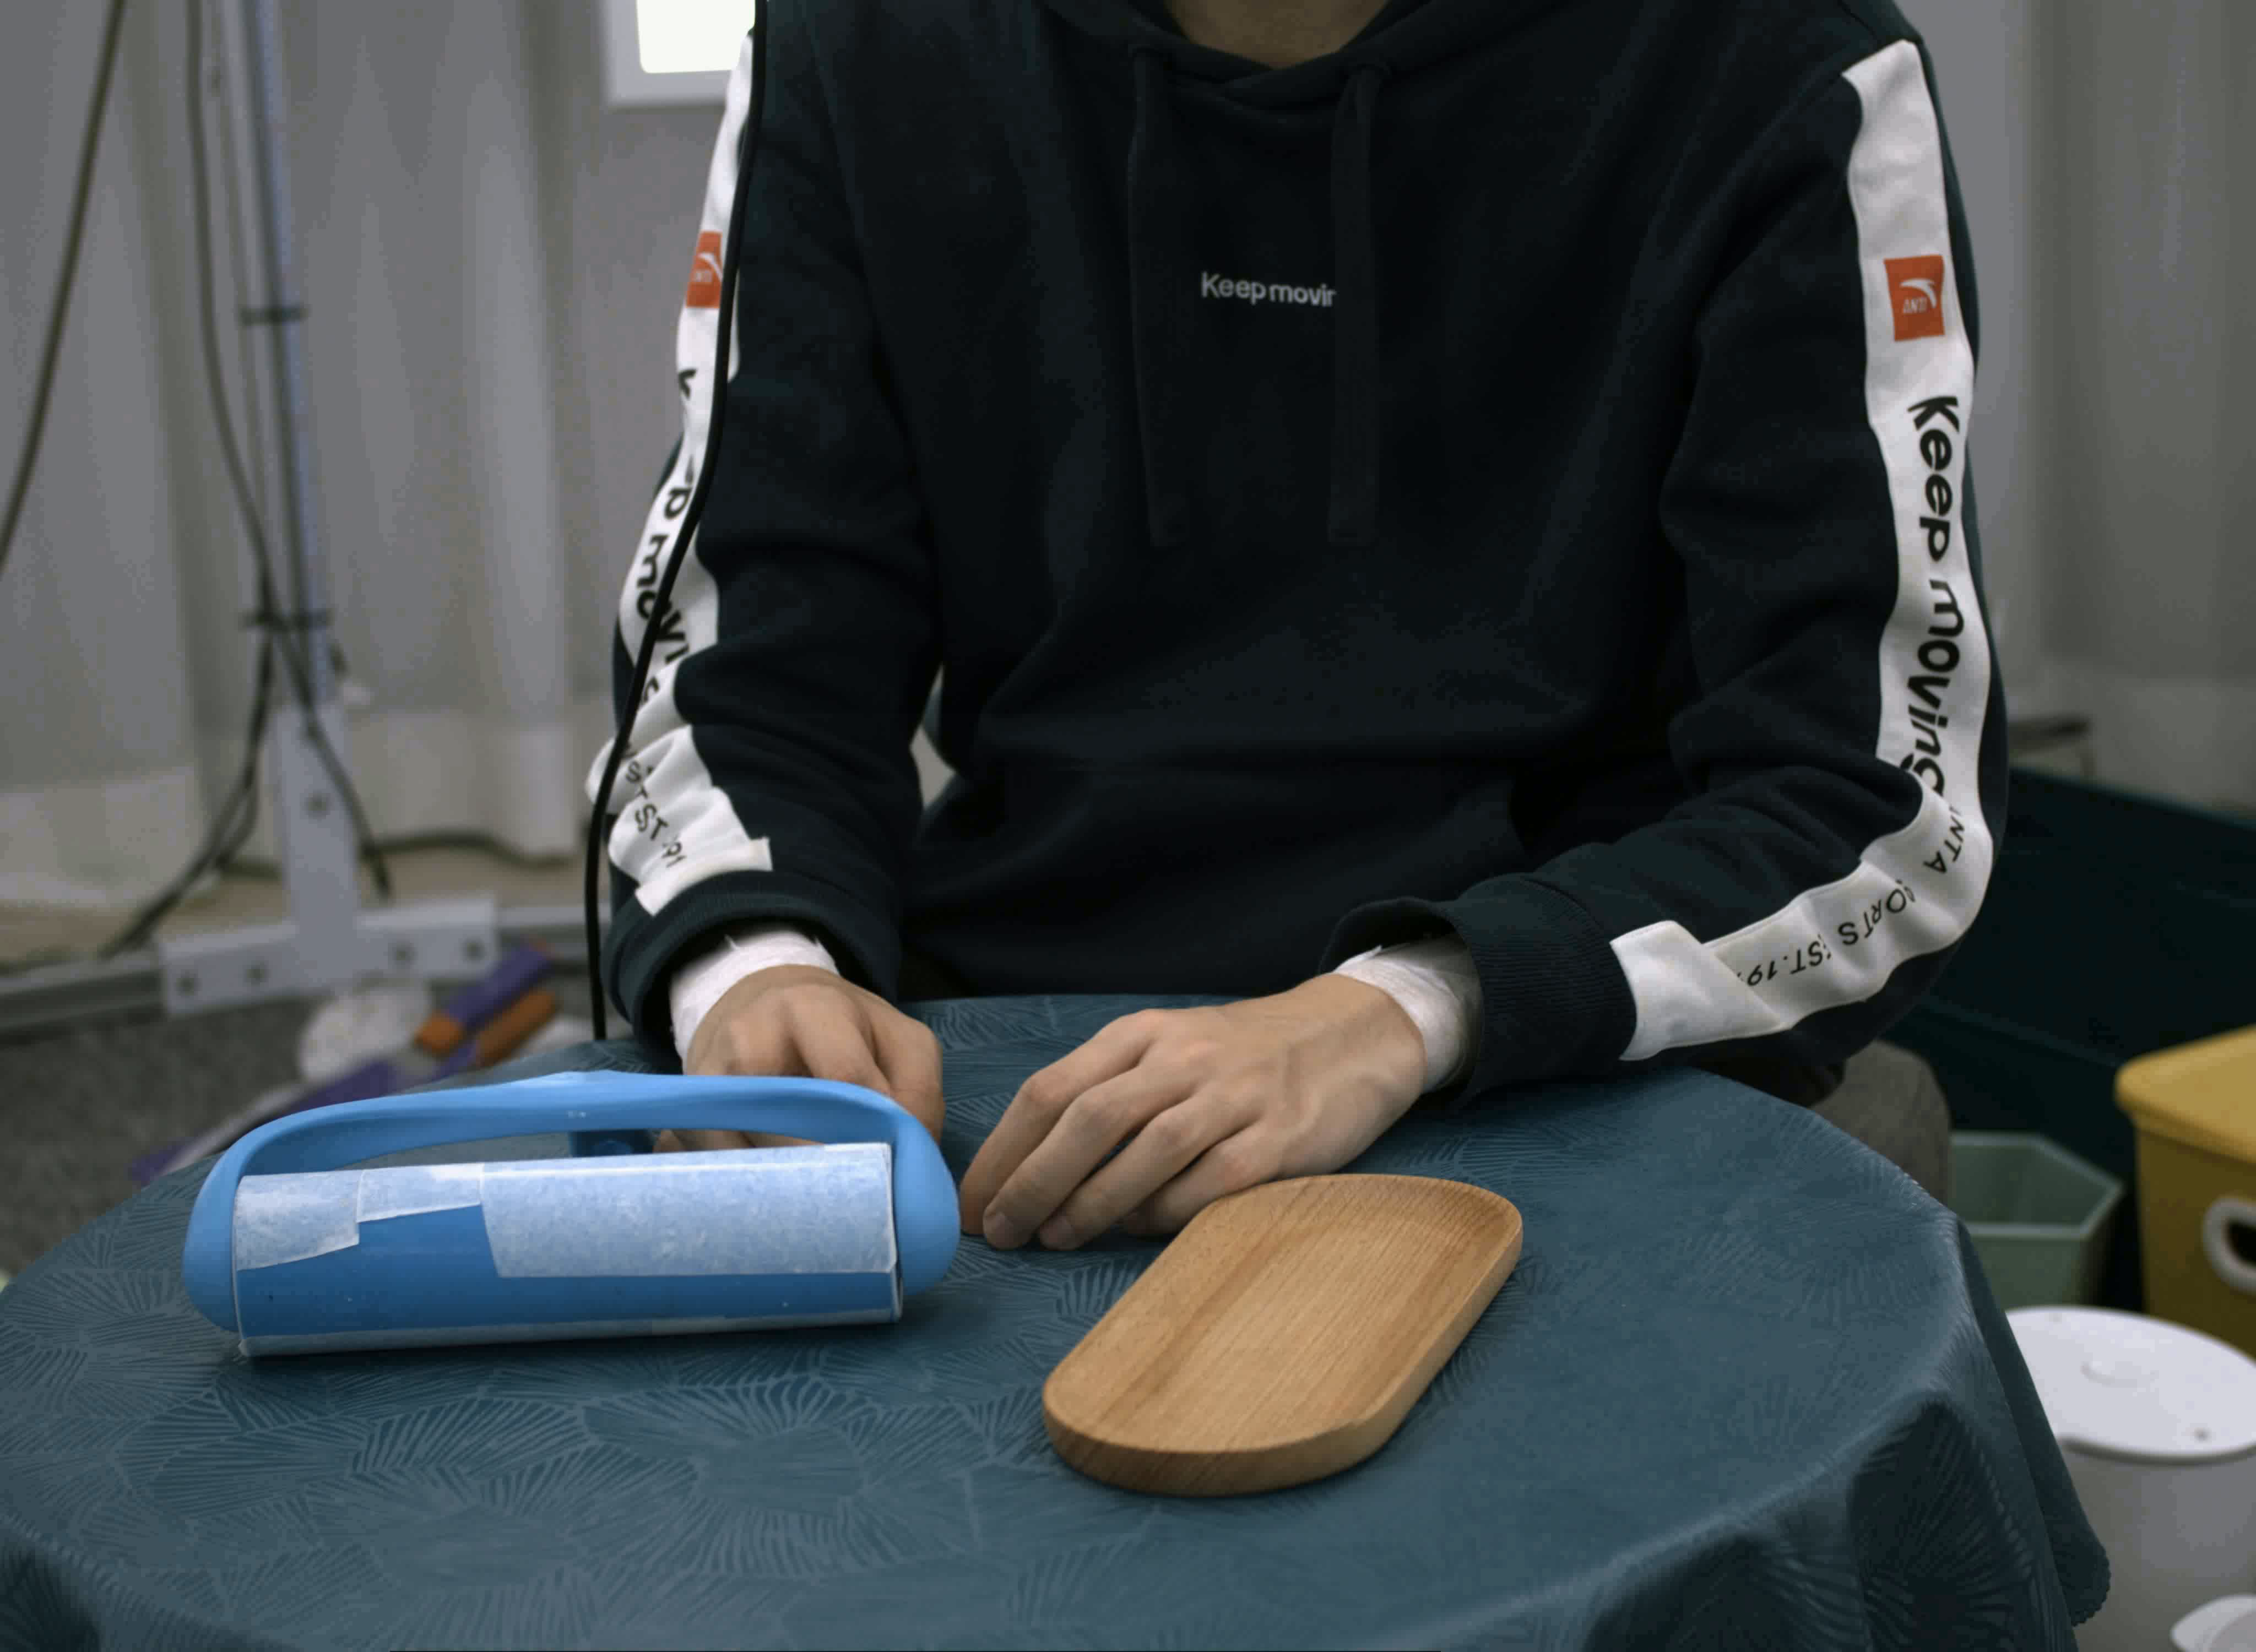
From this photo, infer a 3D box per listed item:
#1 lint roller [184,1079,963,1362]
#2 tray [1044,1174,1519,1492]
[{"bbox_3d":[-0.166,0.108,1.663,0.228,0.067,0.181,-5,16,-2],"label":"lint roller"},{"bbox_3d":[0.047,0.143,1.569,0.101,0.020,0.232,3,14,17],"label":"tray"}]
